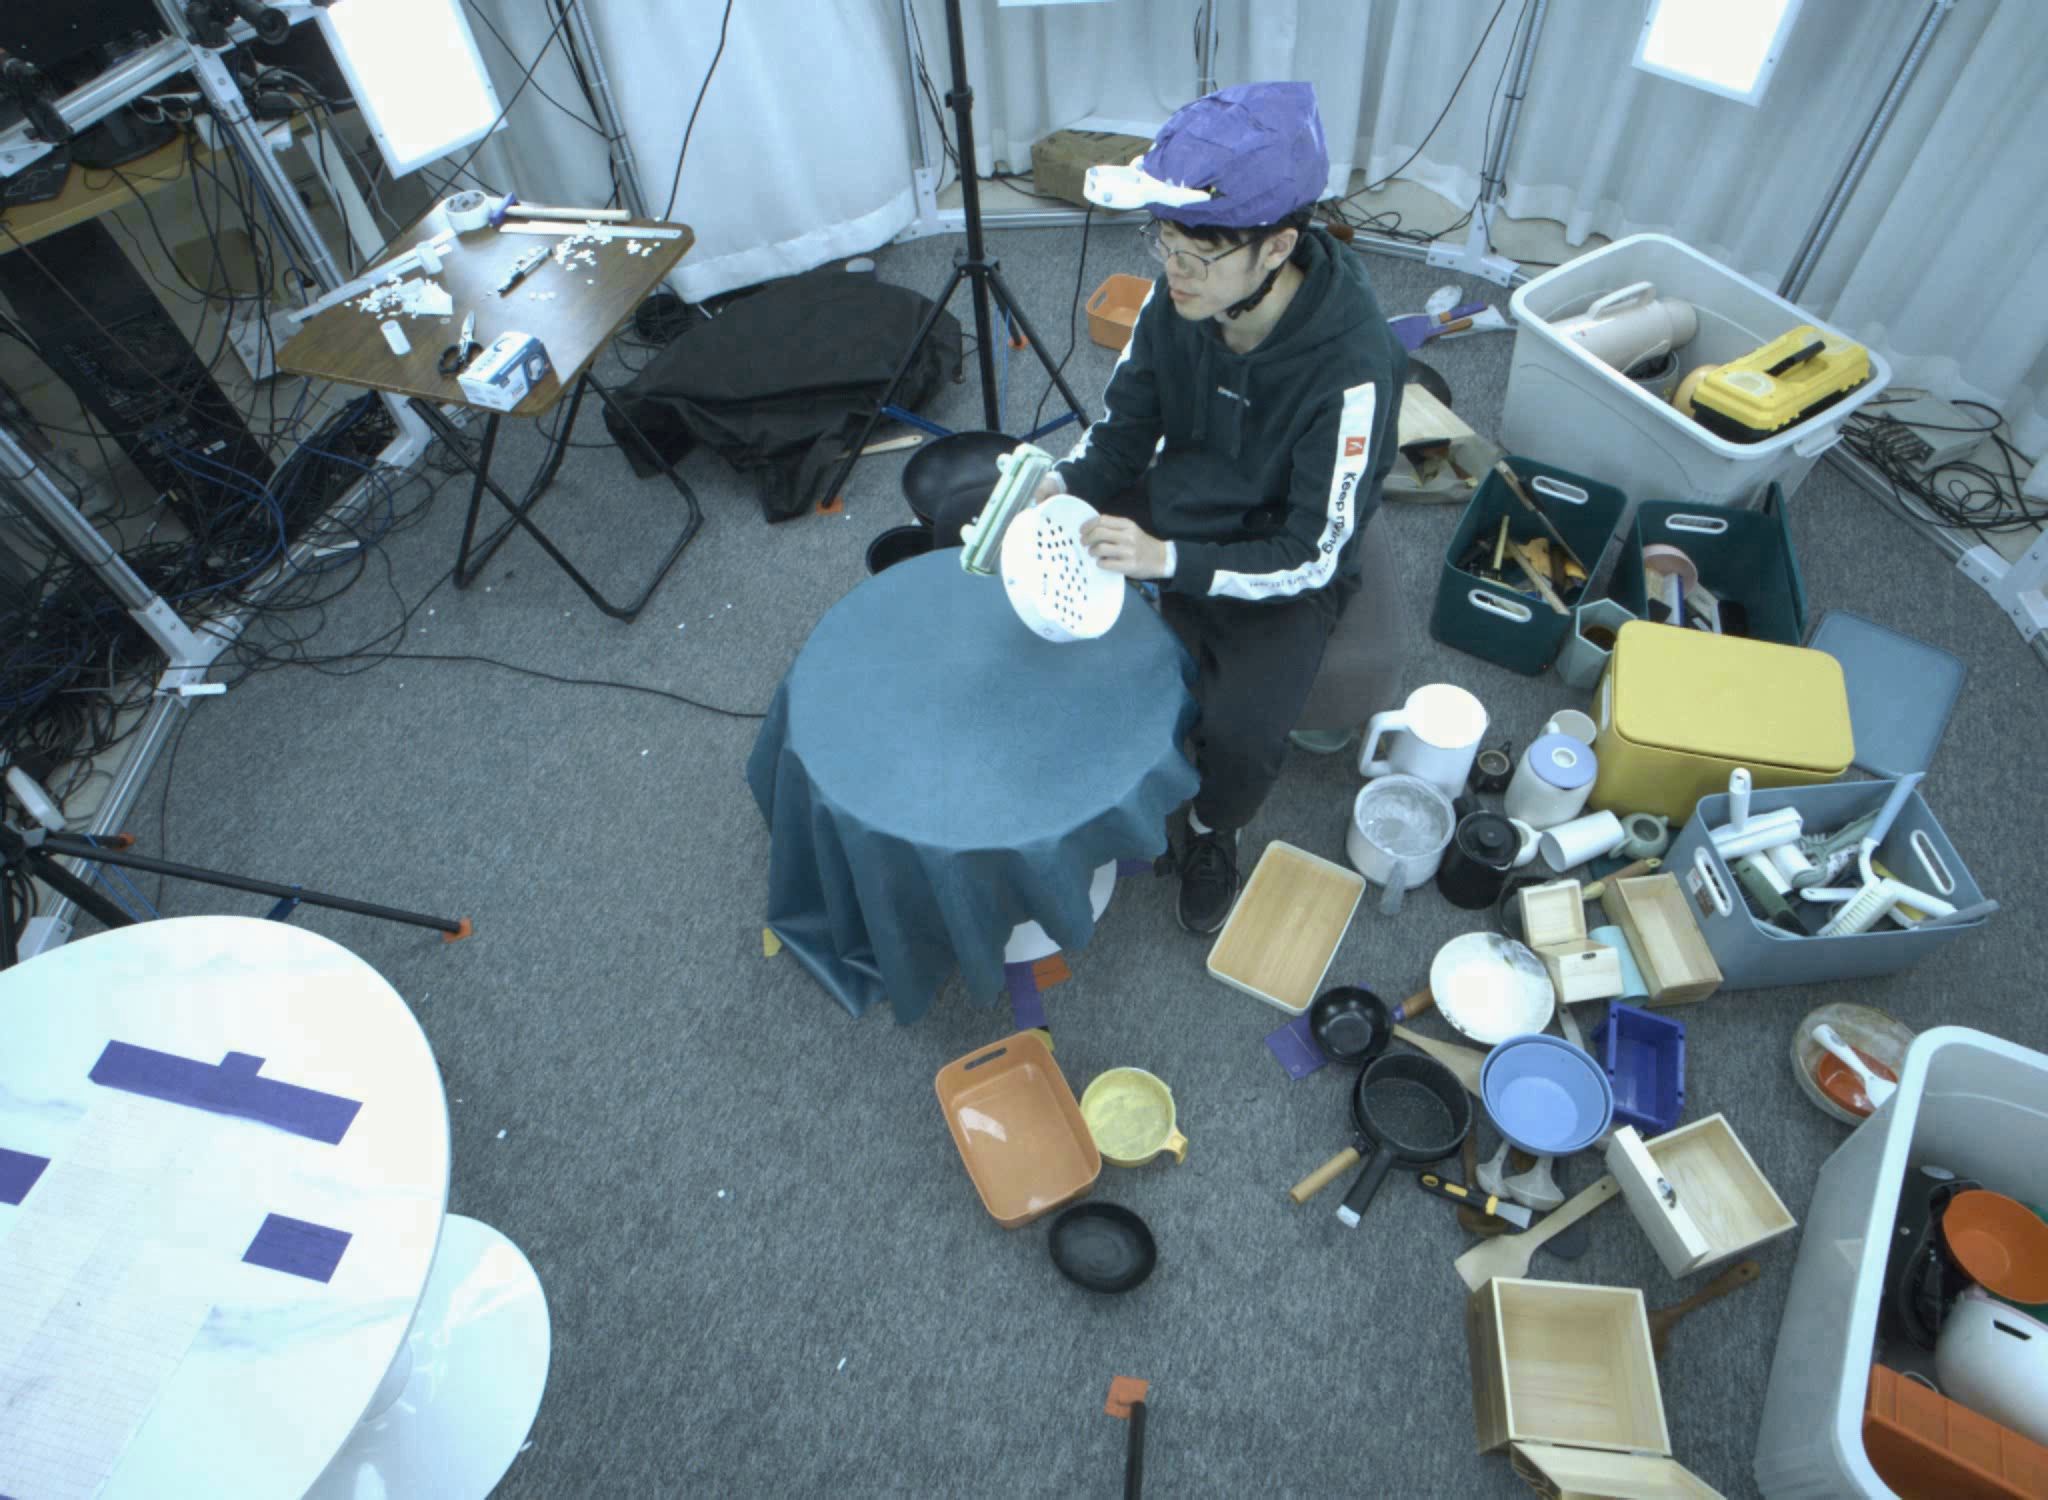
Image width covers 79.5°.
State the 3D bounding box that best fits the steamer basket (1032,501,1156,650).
[{"bbox_3d":[0.095,-0.237,1.692,0.068,0.204,0.232,-7,27,43],"label":"steamer basket"}]

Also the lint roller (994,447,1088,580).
[{"bbox_3d":[0.030,-0.353,1.771,0.082,0.198,0.184,32,24,4],"label":"lint roller"}]
